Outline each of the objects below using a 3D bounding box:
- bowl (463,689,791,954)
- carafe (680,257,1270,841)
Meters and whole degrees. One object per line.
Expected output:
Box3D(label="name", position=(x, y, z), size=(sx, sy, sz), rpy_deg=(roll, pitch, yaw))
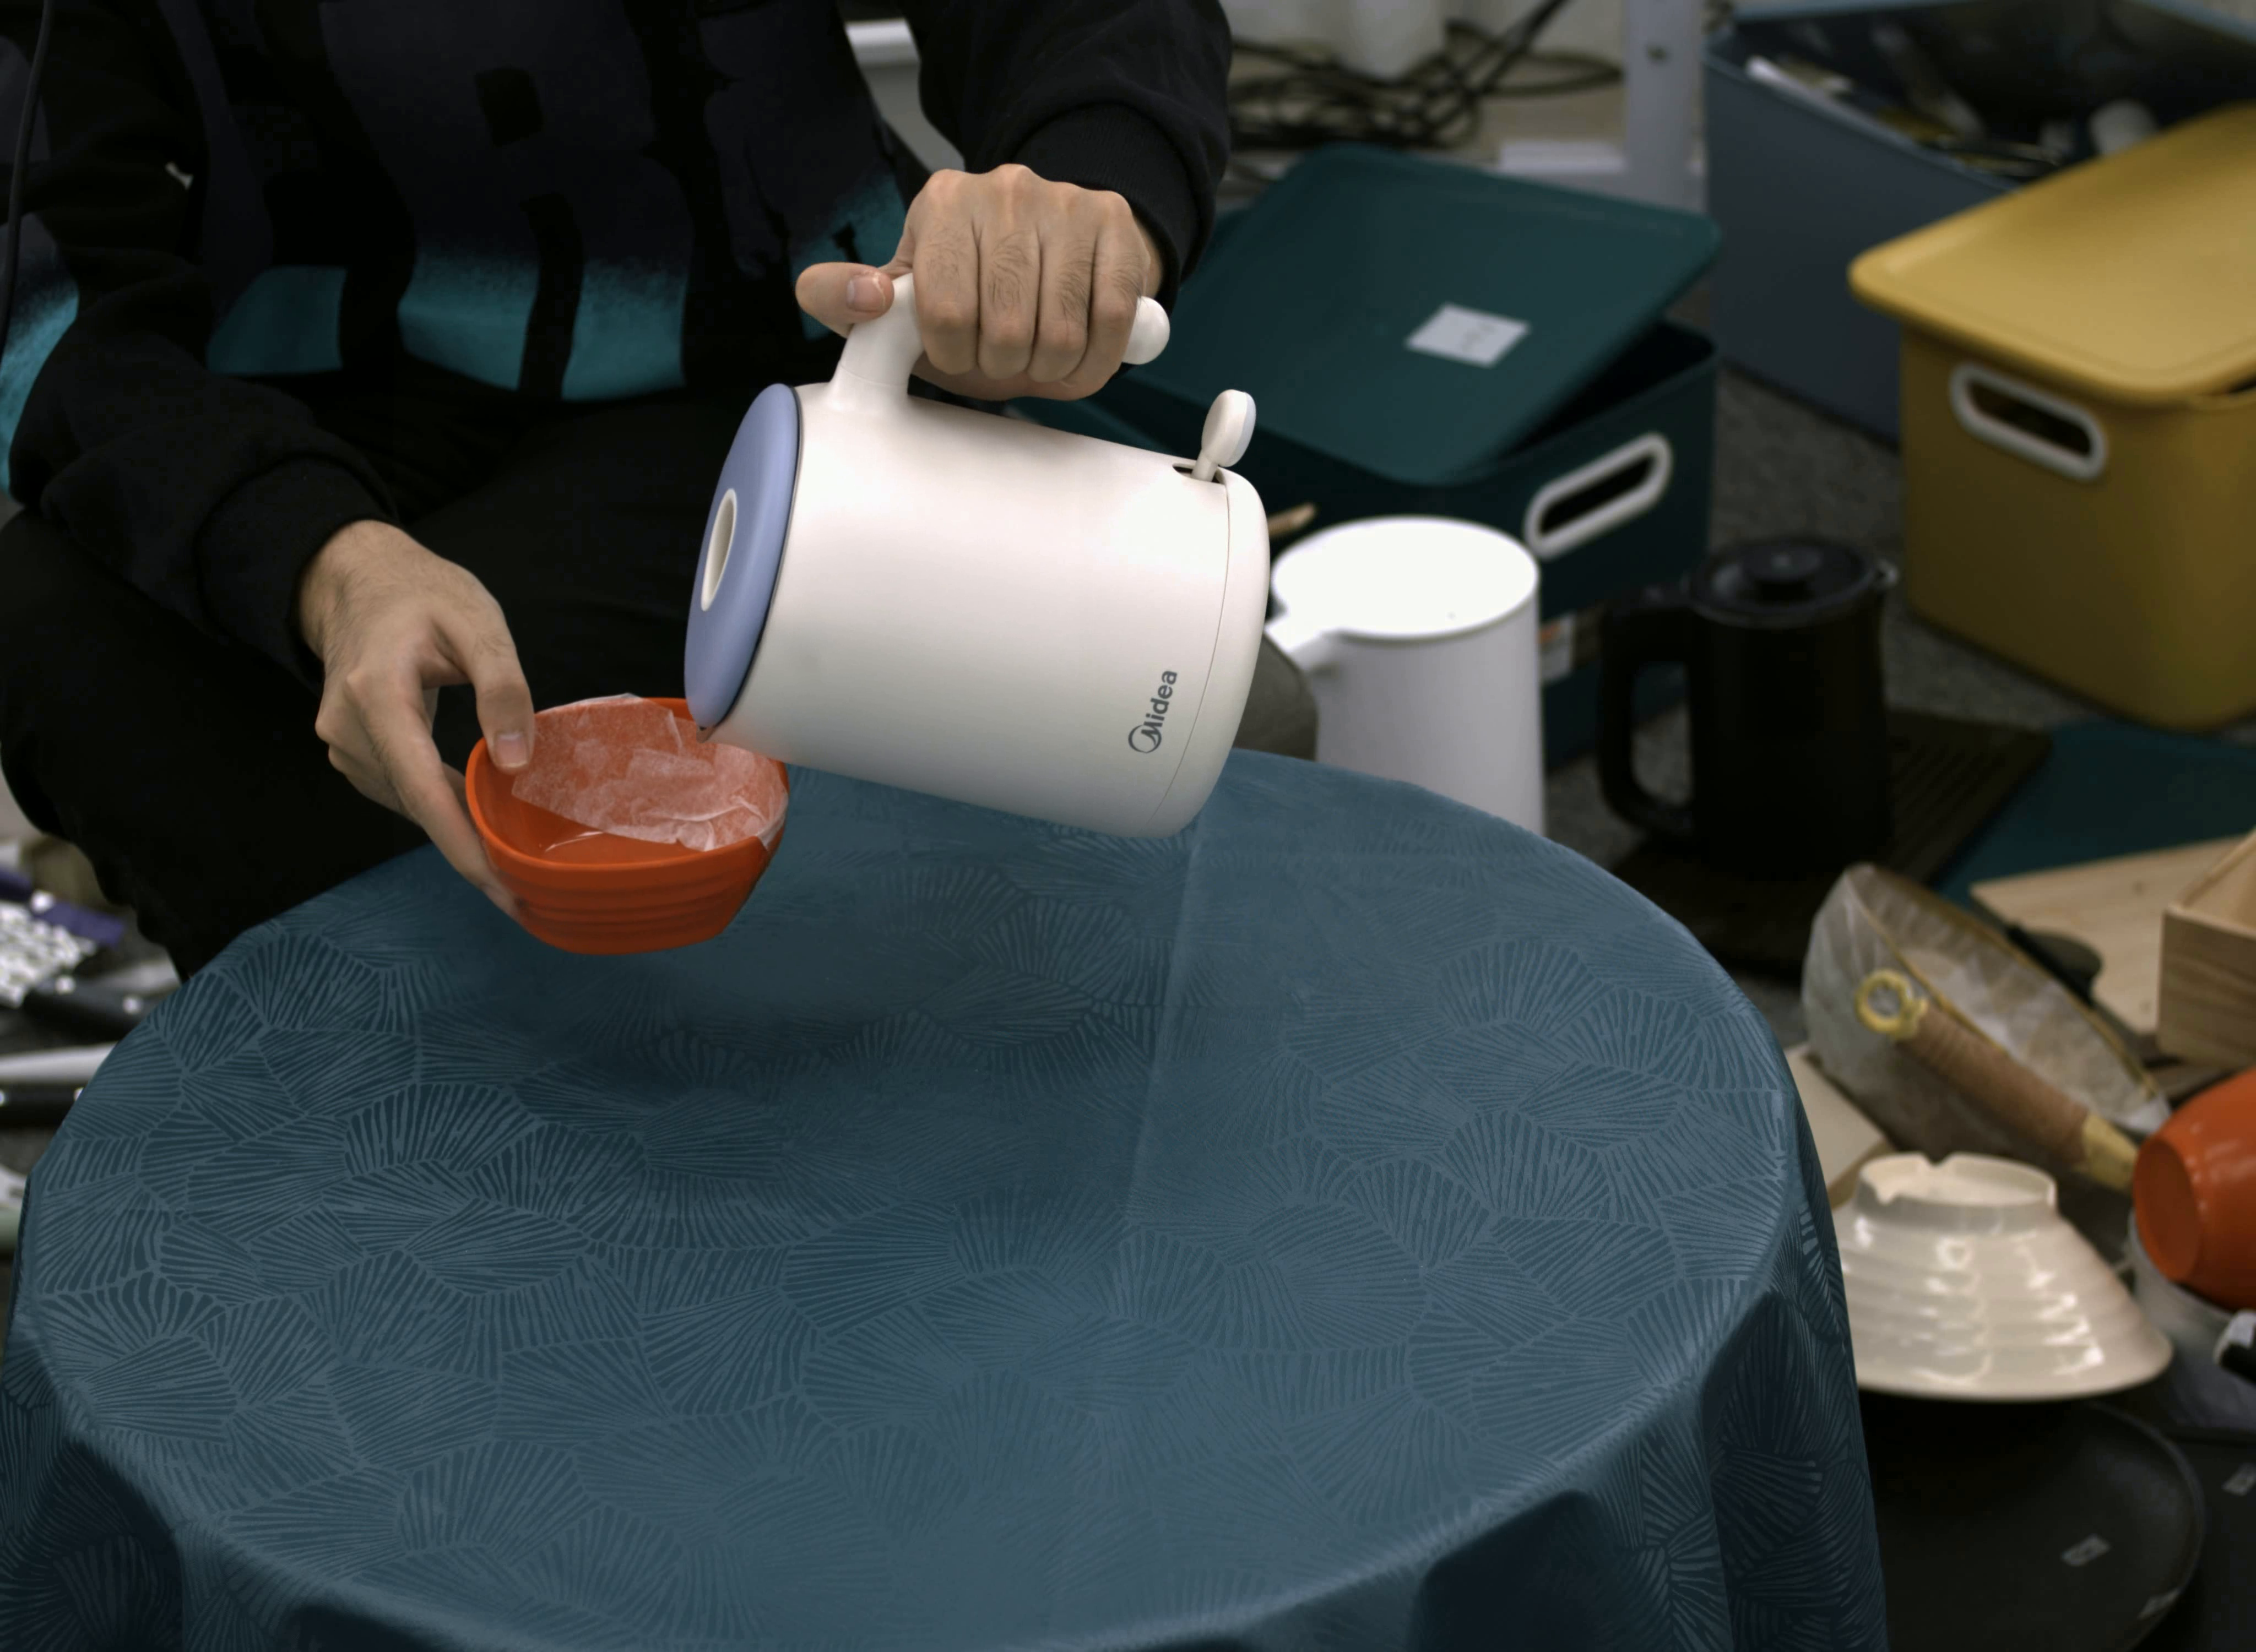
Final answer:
Box3D(label="bowl", position=(-0.171, 0.004, 1.927), size=(0.118, 0.050, 0.121), rpy_deg=(0, 33, 0))
Box3D(label="carafe", position=(-0.045, -0.097, 1.896), size=(0.182, 0.190, 0.133), rpy_deg=(15, 16, -16))
